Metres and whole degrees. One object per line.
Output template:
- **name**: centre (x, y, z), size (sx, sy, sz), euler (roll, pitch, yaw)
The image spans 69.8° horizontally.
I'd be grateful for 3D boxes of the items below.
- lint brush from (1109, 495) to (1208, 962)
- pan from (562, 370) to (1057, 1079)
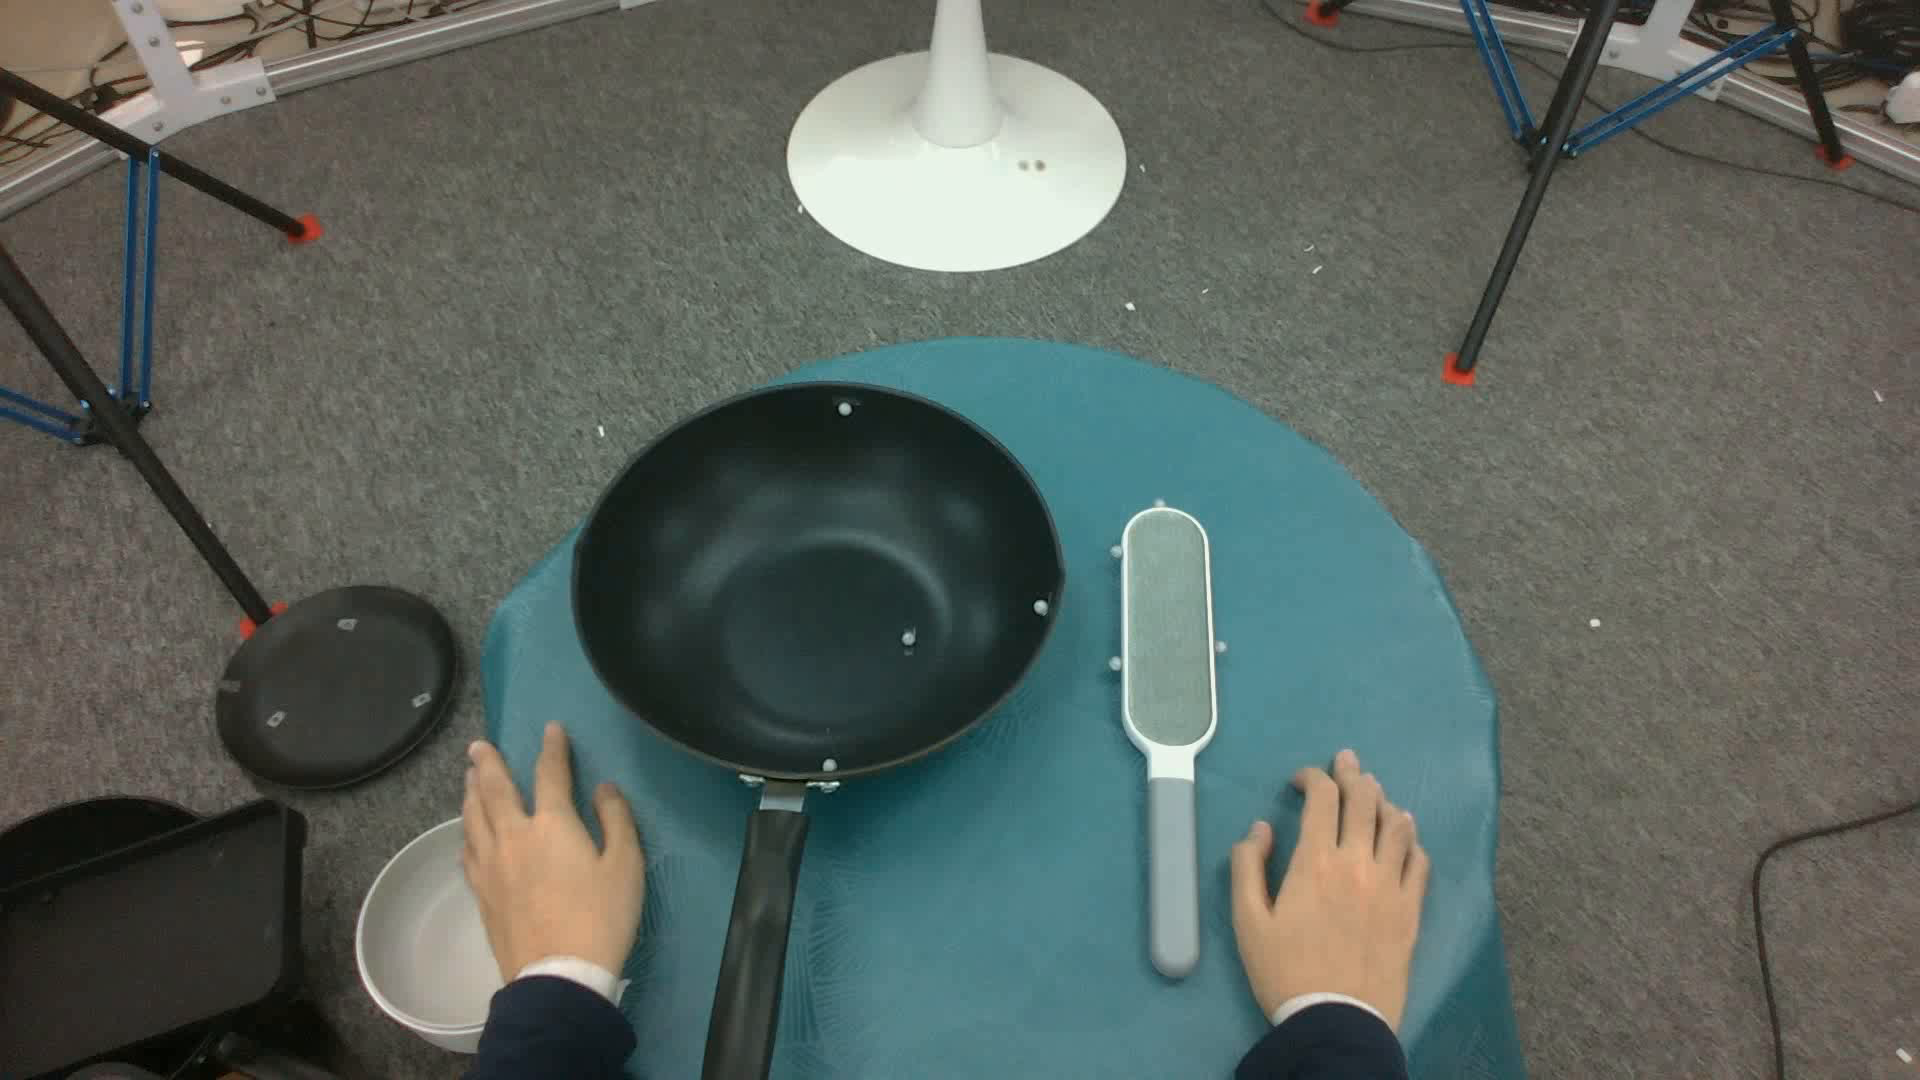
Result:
- **lint brush**: centre (0.117, 0.097, 0.819), size (0.060, 0.021, 0.310), euler (7, 54, -3)
- **pan**: centre (-0.095, 0.102, 0.774), size (0.288, 0.086, 0.465), euler (4, 54, 2)
